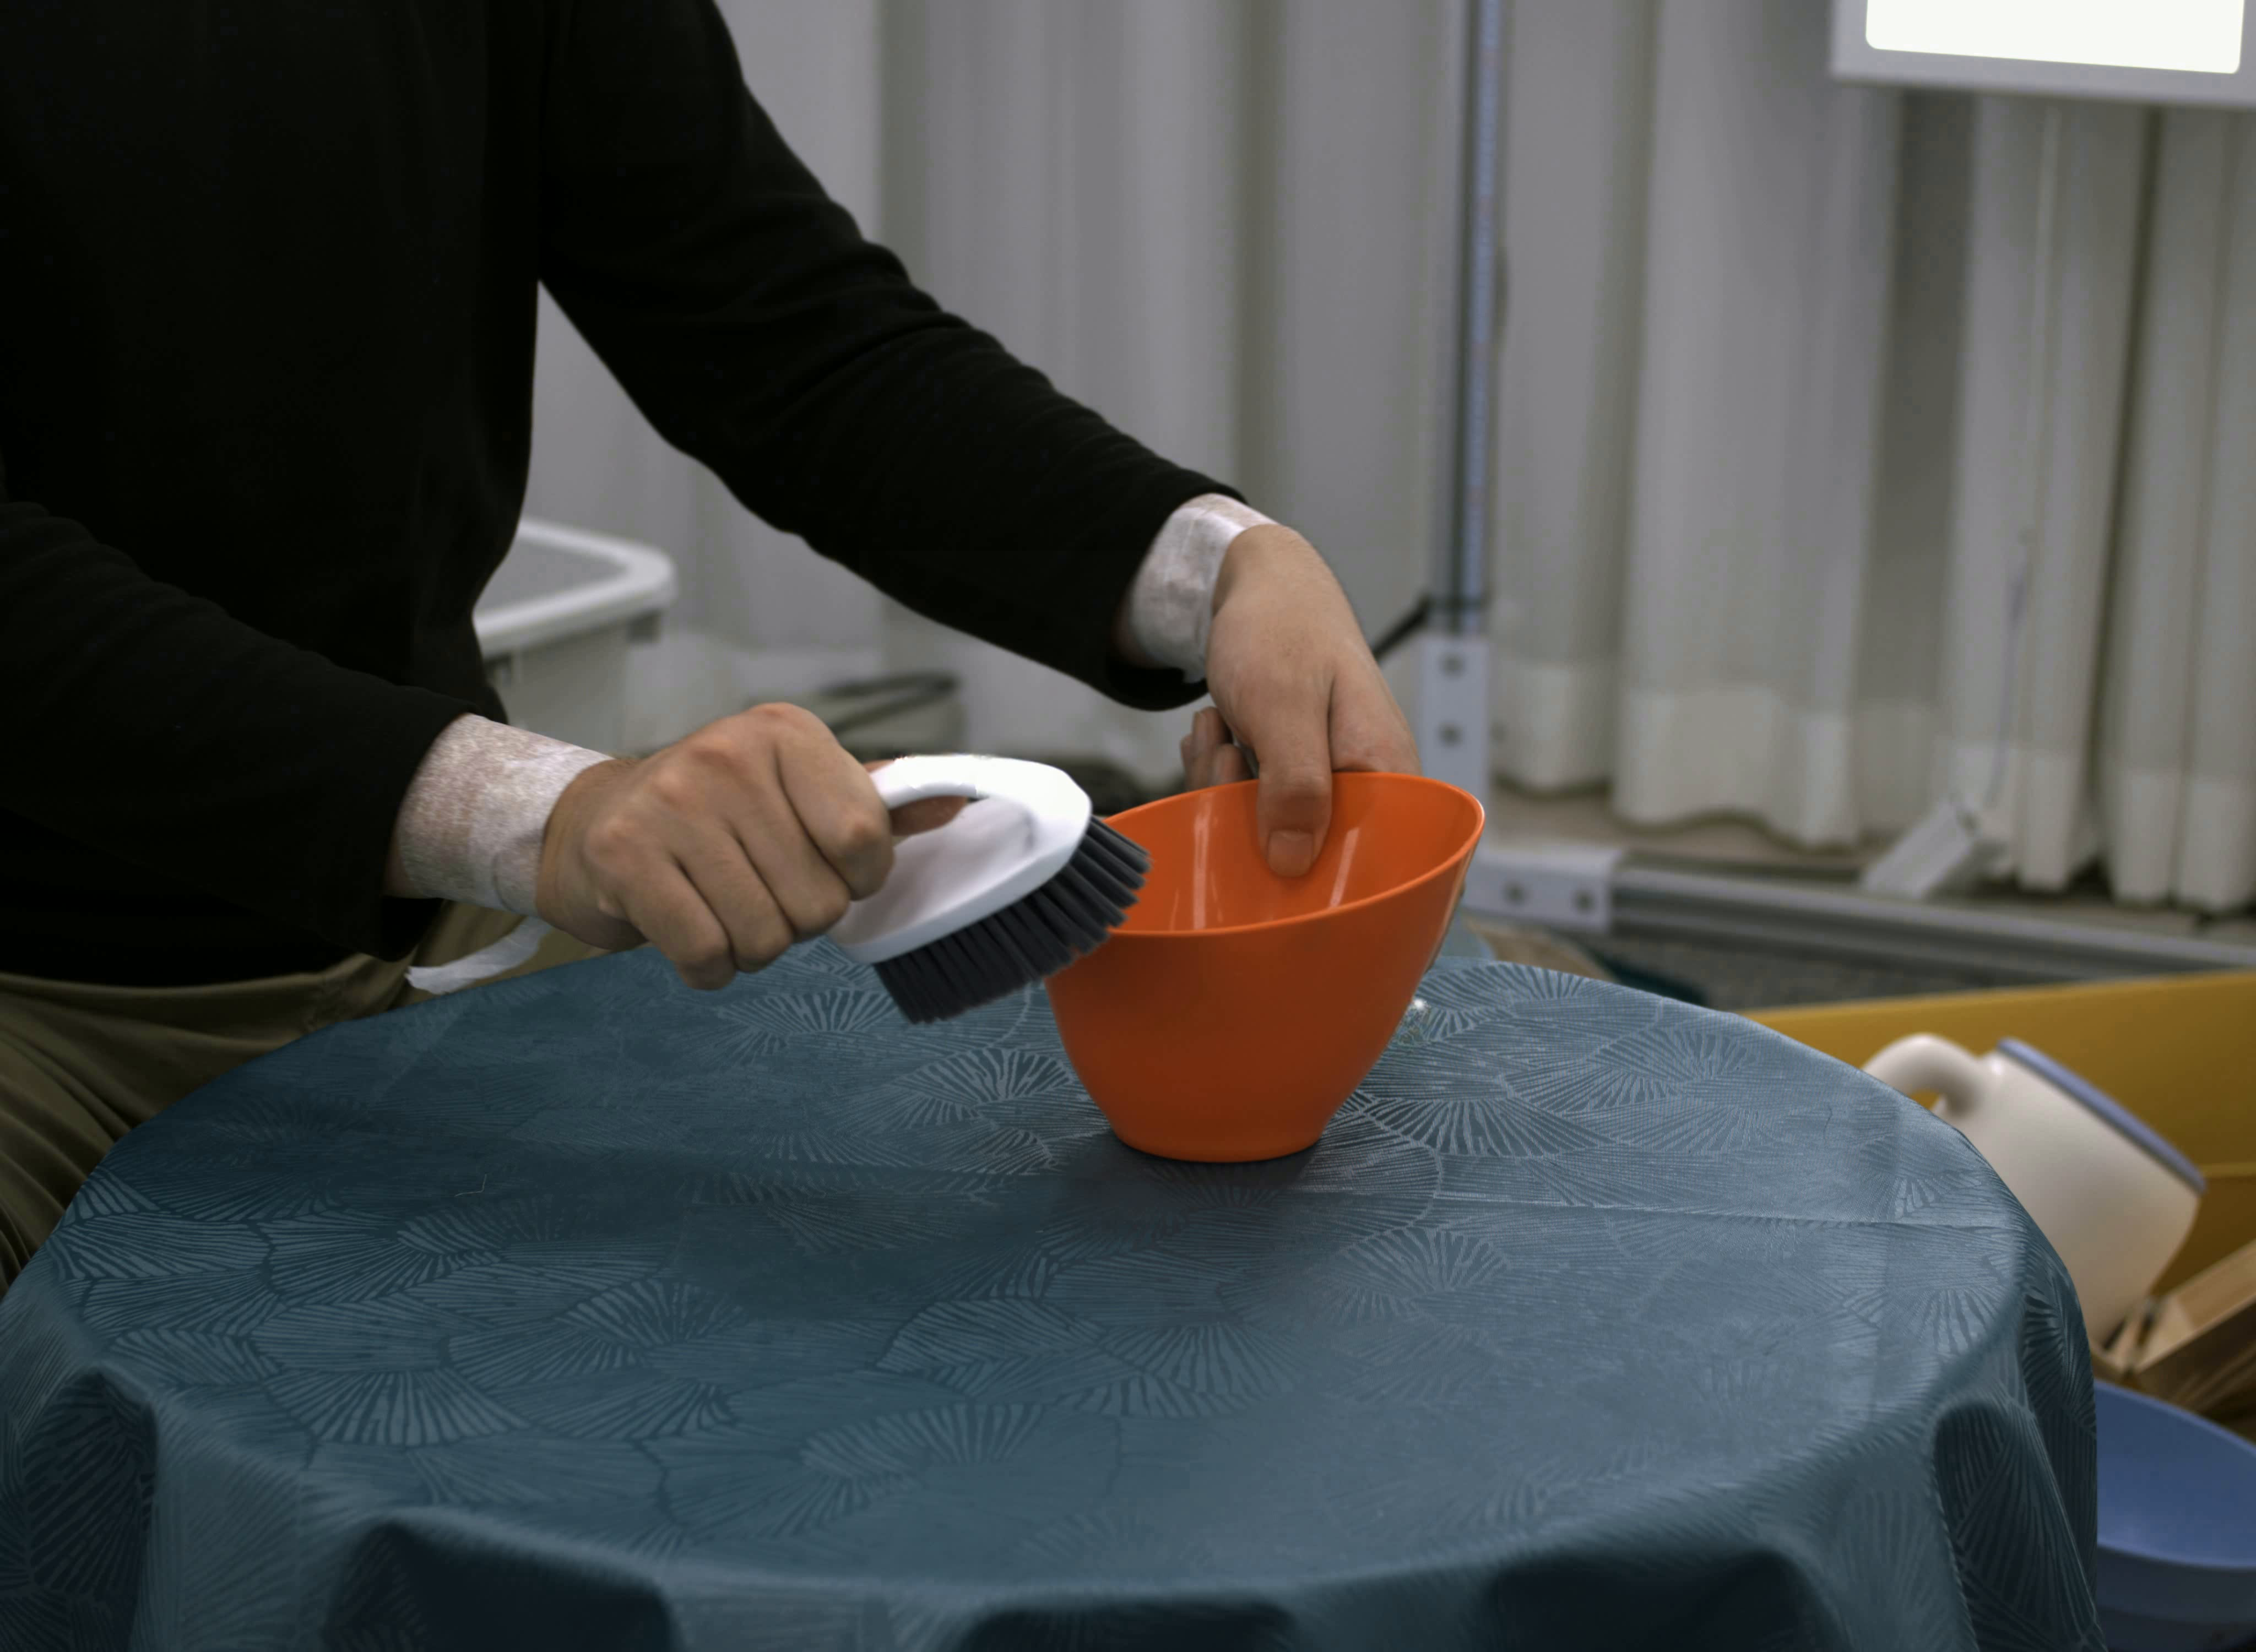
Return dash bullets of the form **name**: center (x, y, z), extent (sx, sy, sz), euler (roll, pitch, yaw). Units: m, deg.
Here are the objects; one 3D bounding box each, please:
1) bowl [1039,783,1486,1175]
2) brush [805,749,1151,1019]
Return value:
- **bowl**: center (0.040, 0.050, 1.663), extent (0.147, 0.105, 0.147), euler (-1, 15, 1)
- **brush**: center (-0.052, 0.011, 1.552), extent (0.098, 0.073, 0.050), euler (-22, 36, 38)
